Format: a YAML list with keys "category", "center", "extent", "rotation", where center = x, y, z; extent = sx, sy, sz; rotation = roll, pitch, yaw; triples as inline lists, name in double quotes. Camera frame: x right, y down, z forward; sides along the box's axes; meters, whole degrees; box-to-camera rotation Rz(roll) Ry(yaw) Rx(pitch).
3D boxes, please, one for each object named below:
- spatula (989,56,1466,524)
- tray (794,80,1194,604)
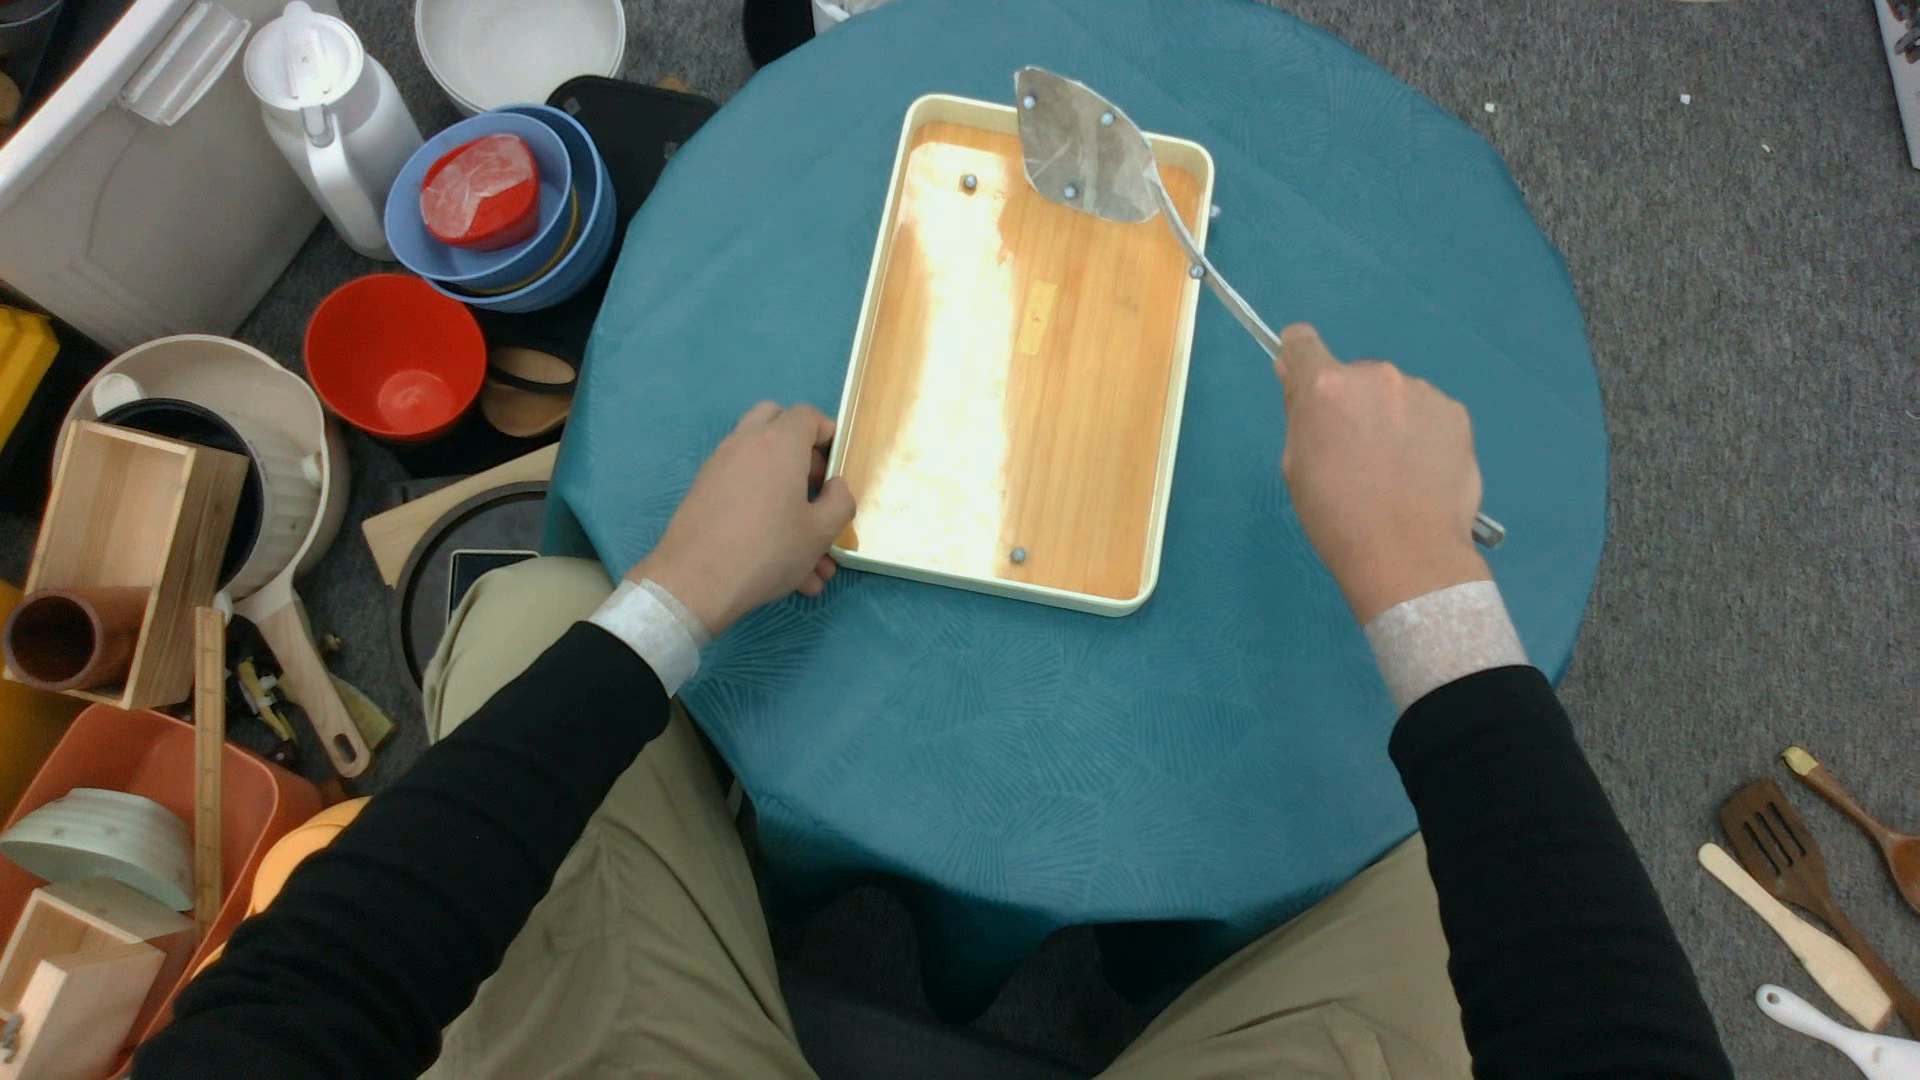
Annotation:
- category: "spatula"
  center: [0.129, -0.133, 0.727]
  extent: [0.045, 0.098, 0.365]
  rotation: [-28, 60, -13]
- category: "tray"
  center: [0.025, -0.121, 0.799]
  extent: [0.191, 0.027, 0.301]
  rotation: [11, 71, -1]
